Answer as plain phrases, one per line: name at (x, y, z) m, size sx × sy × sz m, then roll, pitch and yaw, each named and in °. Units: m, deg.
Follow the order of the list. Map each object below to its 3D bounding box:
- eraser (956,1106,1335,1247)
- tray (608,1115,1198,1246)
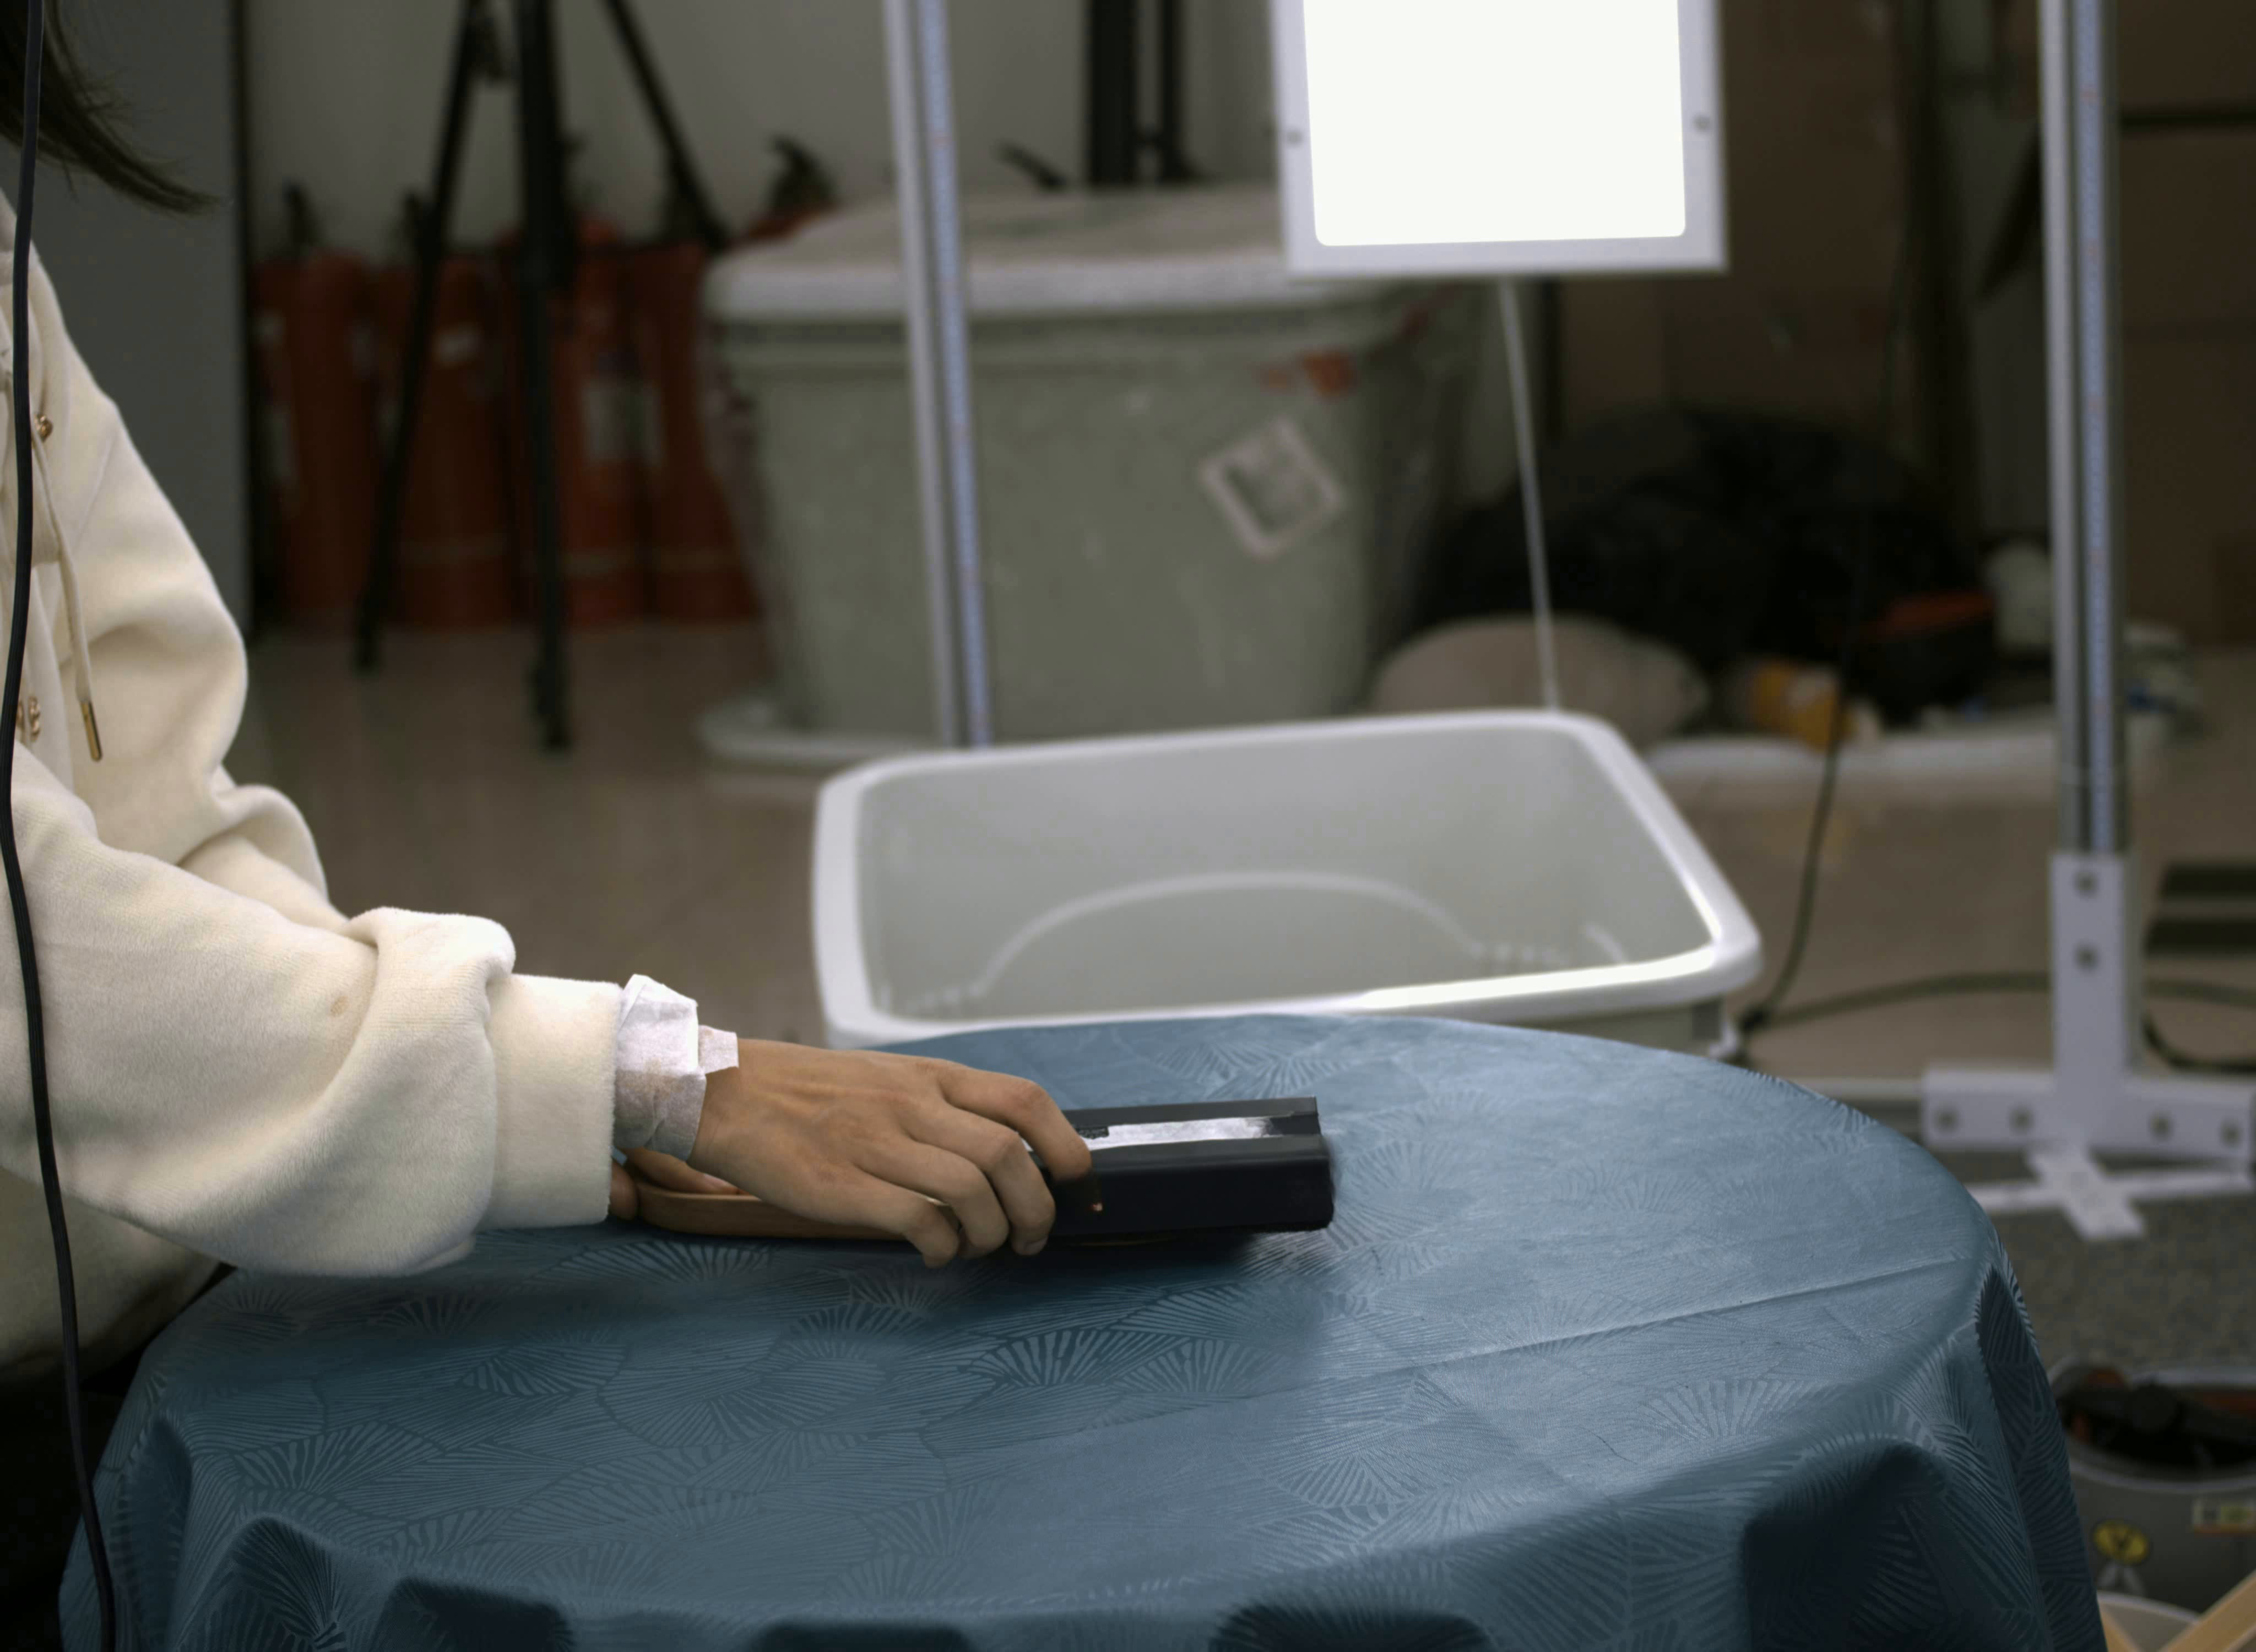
eraser at (0.006, 0.116, 1.825) m, size 0.125 × 0.030 × 0.053 m, roll -3°, pitch 17°, yaw 2°
tray at (-0.069, 0.123, 1.906) m, size 0.234 × 0.020 × 0.100 m, roll -2°, pitch 14°, yaw 19°
